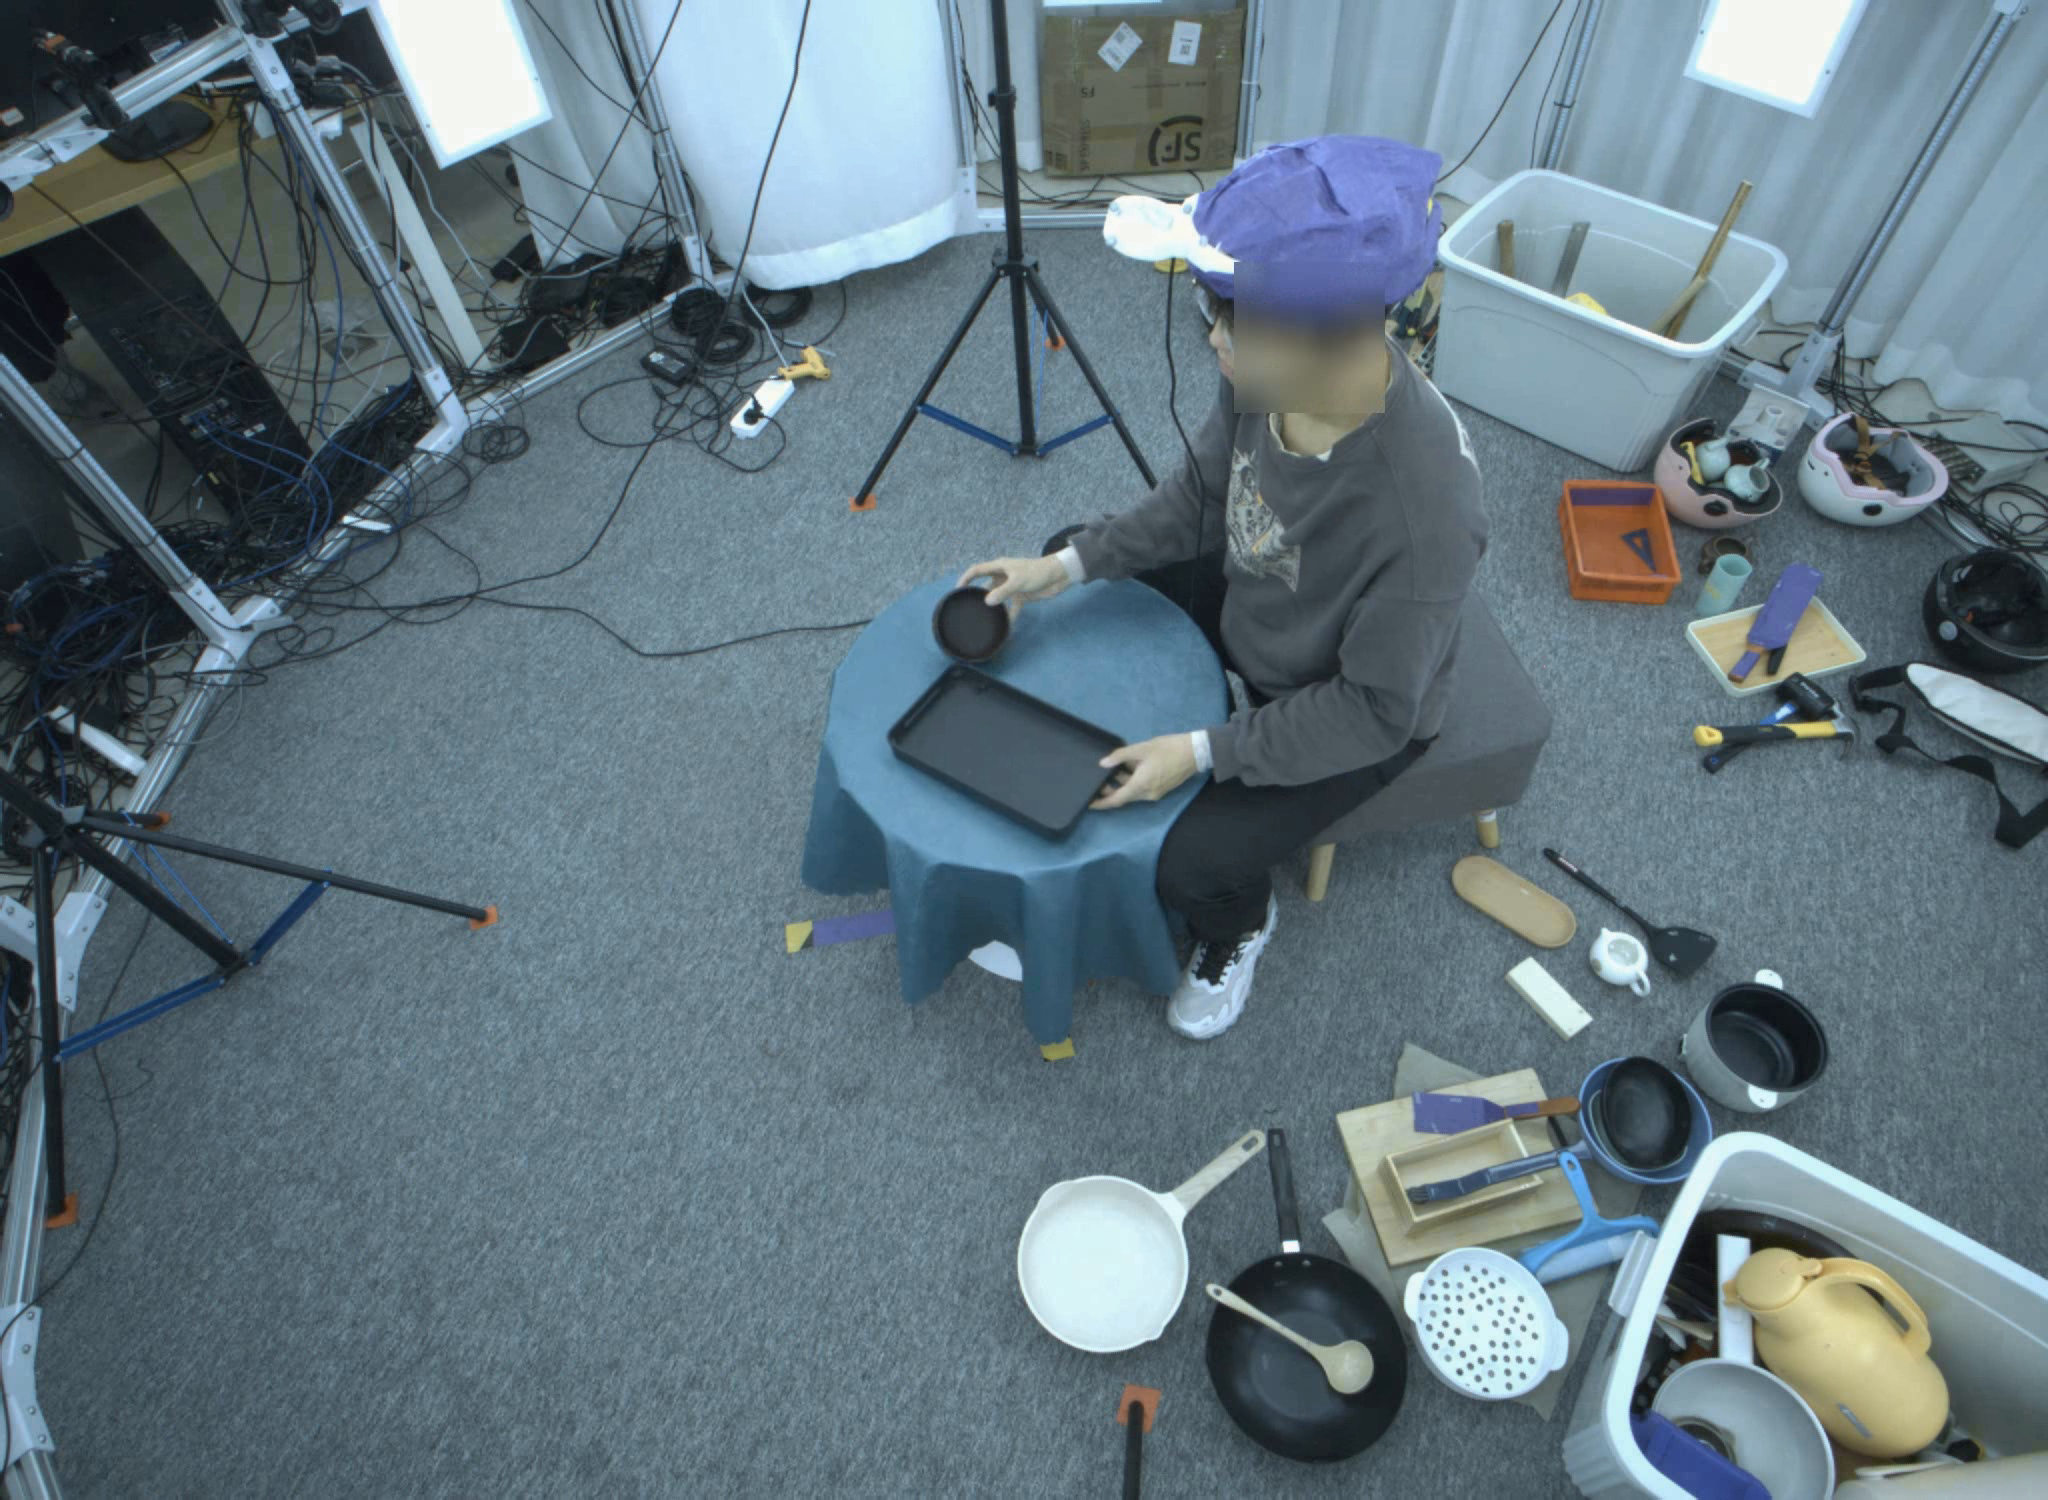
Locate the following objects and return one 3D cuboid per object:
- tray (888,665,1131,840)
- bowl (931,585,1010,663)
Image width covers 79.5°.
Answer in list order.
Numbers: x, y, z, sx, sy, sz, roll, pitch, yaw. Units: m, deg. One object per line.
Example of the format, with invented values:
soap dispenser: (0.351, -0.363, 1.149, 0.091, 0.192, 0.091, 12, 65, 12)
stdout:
tray: (-0.021, -0.001, 1.757, 0.313, 0.037, 0.185, 25, 58, 22)
bowl: (-0.086, -0.191, 1.864, 0.119, 0.069, 0.118, -2, 96, -17)
